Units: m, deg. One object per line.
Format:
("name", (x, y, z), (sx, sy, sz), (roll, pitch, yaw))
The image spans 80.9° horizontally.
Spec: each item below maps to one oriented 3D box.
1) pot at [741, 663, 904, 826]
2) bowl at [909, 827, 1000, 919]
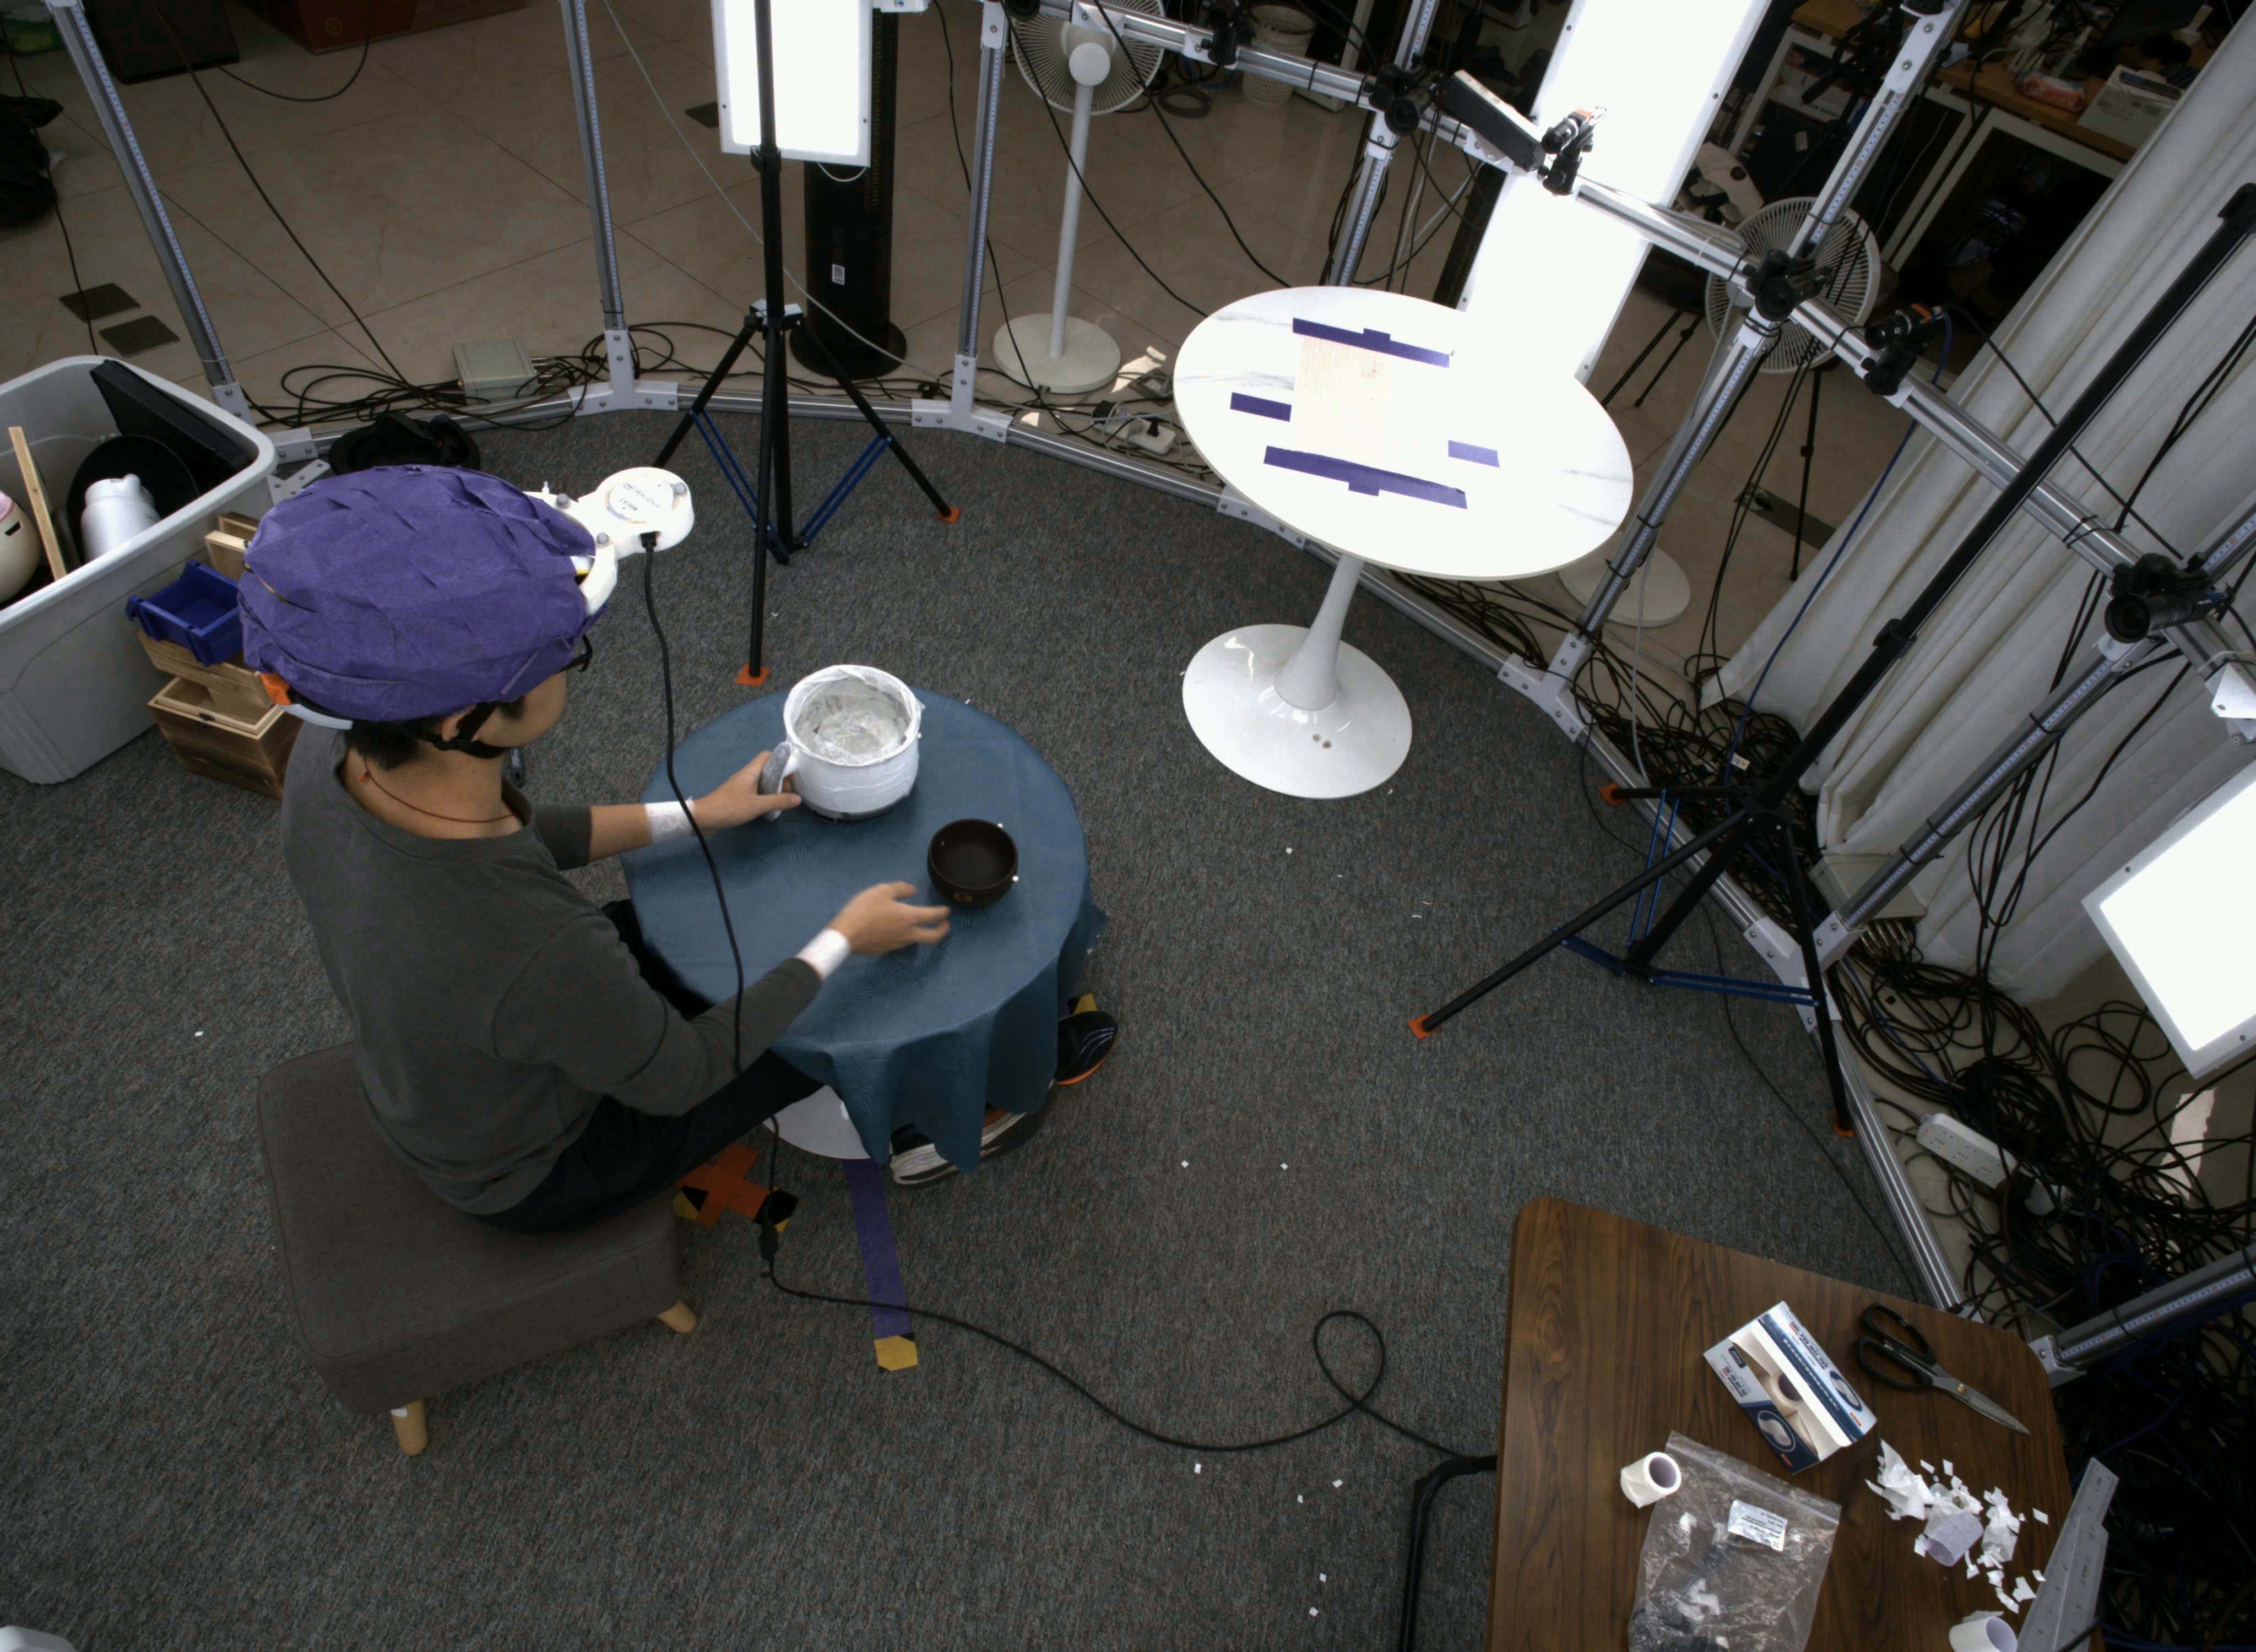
("pot", (-0.409, -0.094, 1.720), (0.234, 0.139, 0.174), (-35, 67, -32))
("bowl", (-0.225, 0.067, 1.696), (0.117, 0.071, 0.116), (4, 57, -4))
